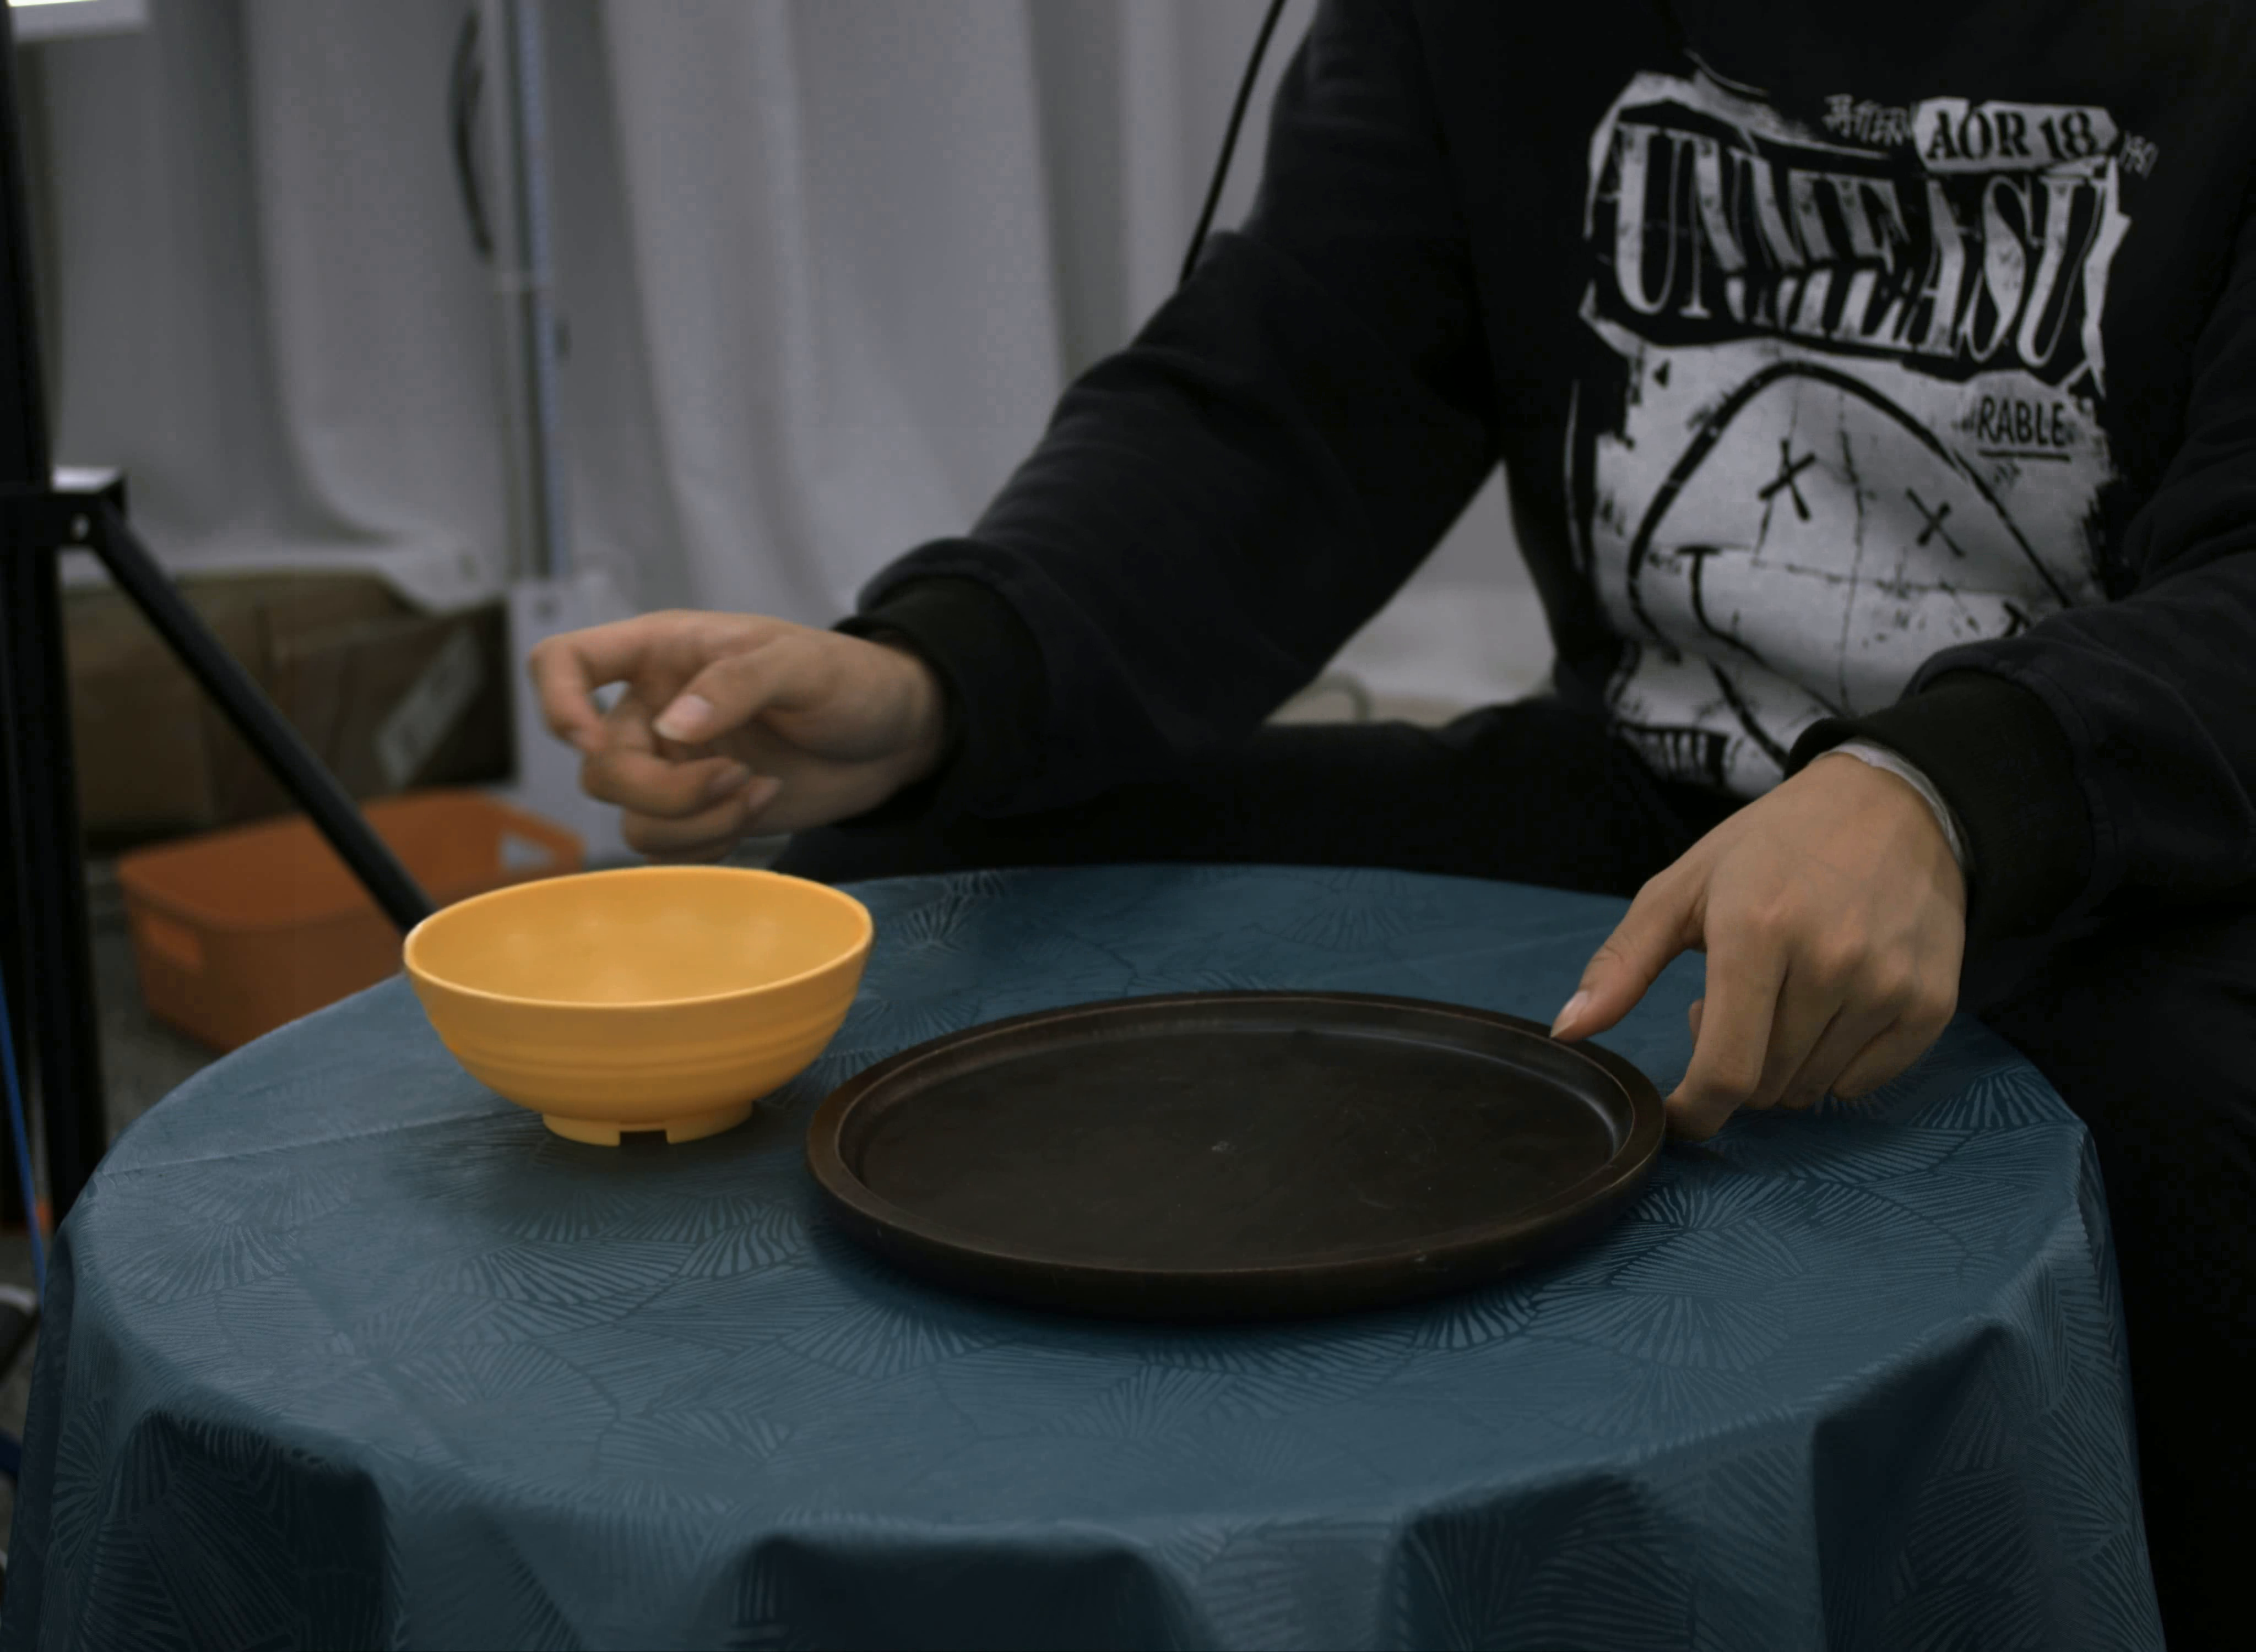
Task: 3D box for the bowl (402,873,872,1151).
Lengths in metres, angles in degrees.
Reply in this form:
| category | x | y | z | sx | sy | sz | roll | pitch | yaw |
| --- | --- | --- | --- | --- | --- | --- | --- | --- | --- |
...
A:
| category | x | y | z | sx | sy | sz | roll | pitch | yaw |
| --- | --- | --- | --- | --- | --- | --- | --- | --- | --- |
| bowl | -0.151 | 0.062 | 1.645 | 0.144 | 0.060 | 0.146 | 0 | 15 | -1 |

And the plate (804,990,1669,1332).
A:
| category | x | y | z | sx | sy | sz | roll | pitch | yaw |
| --- | --- | --- | --- | --- | --- | --- | --- | --- | --- |
| plate | 0.032 | 0.096 | 1.554 | 0.253 | 0.029 | 0.256 | -4 | 15 | 0 |
